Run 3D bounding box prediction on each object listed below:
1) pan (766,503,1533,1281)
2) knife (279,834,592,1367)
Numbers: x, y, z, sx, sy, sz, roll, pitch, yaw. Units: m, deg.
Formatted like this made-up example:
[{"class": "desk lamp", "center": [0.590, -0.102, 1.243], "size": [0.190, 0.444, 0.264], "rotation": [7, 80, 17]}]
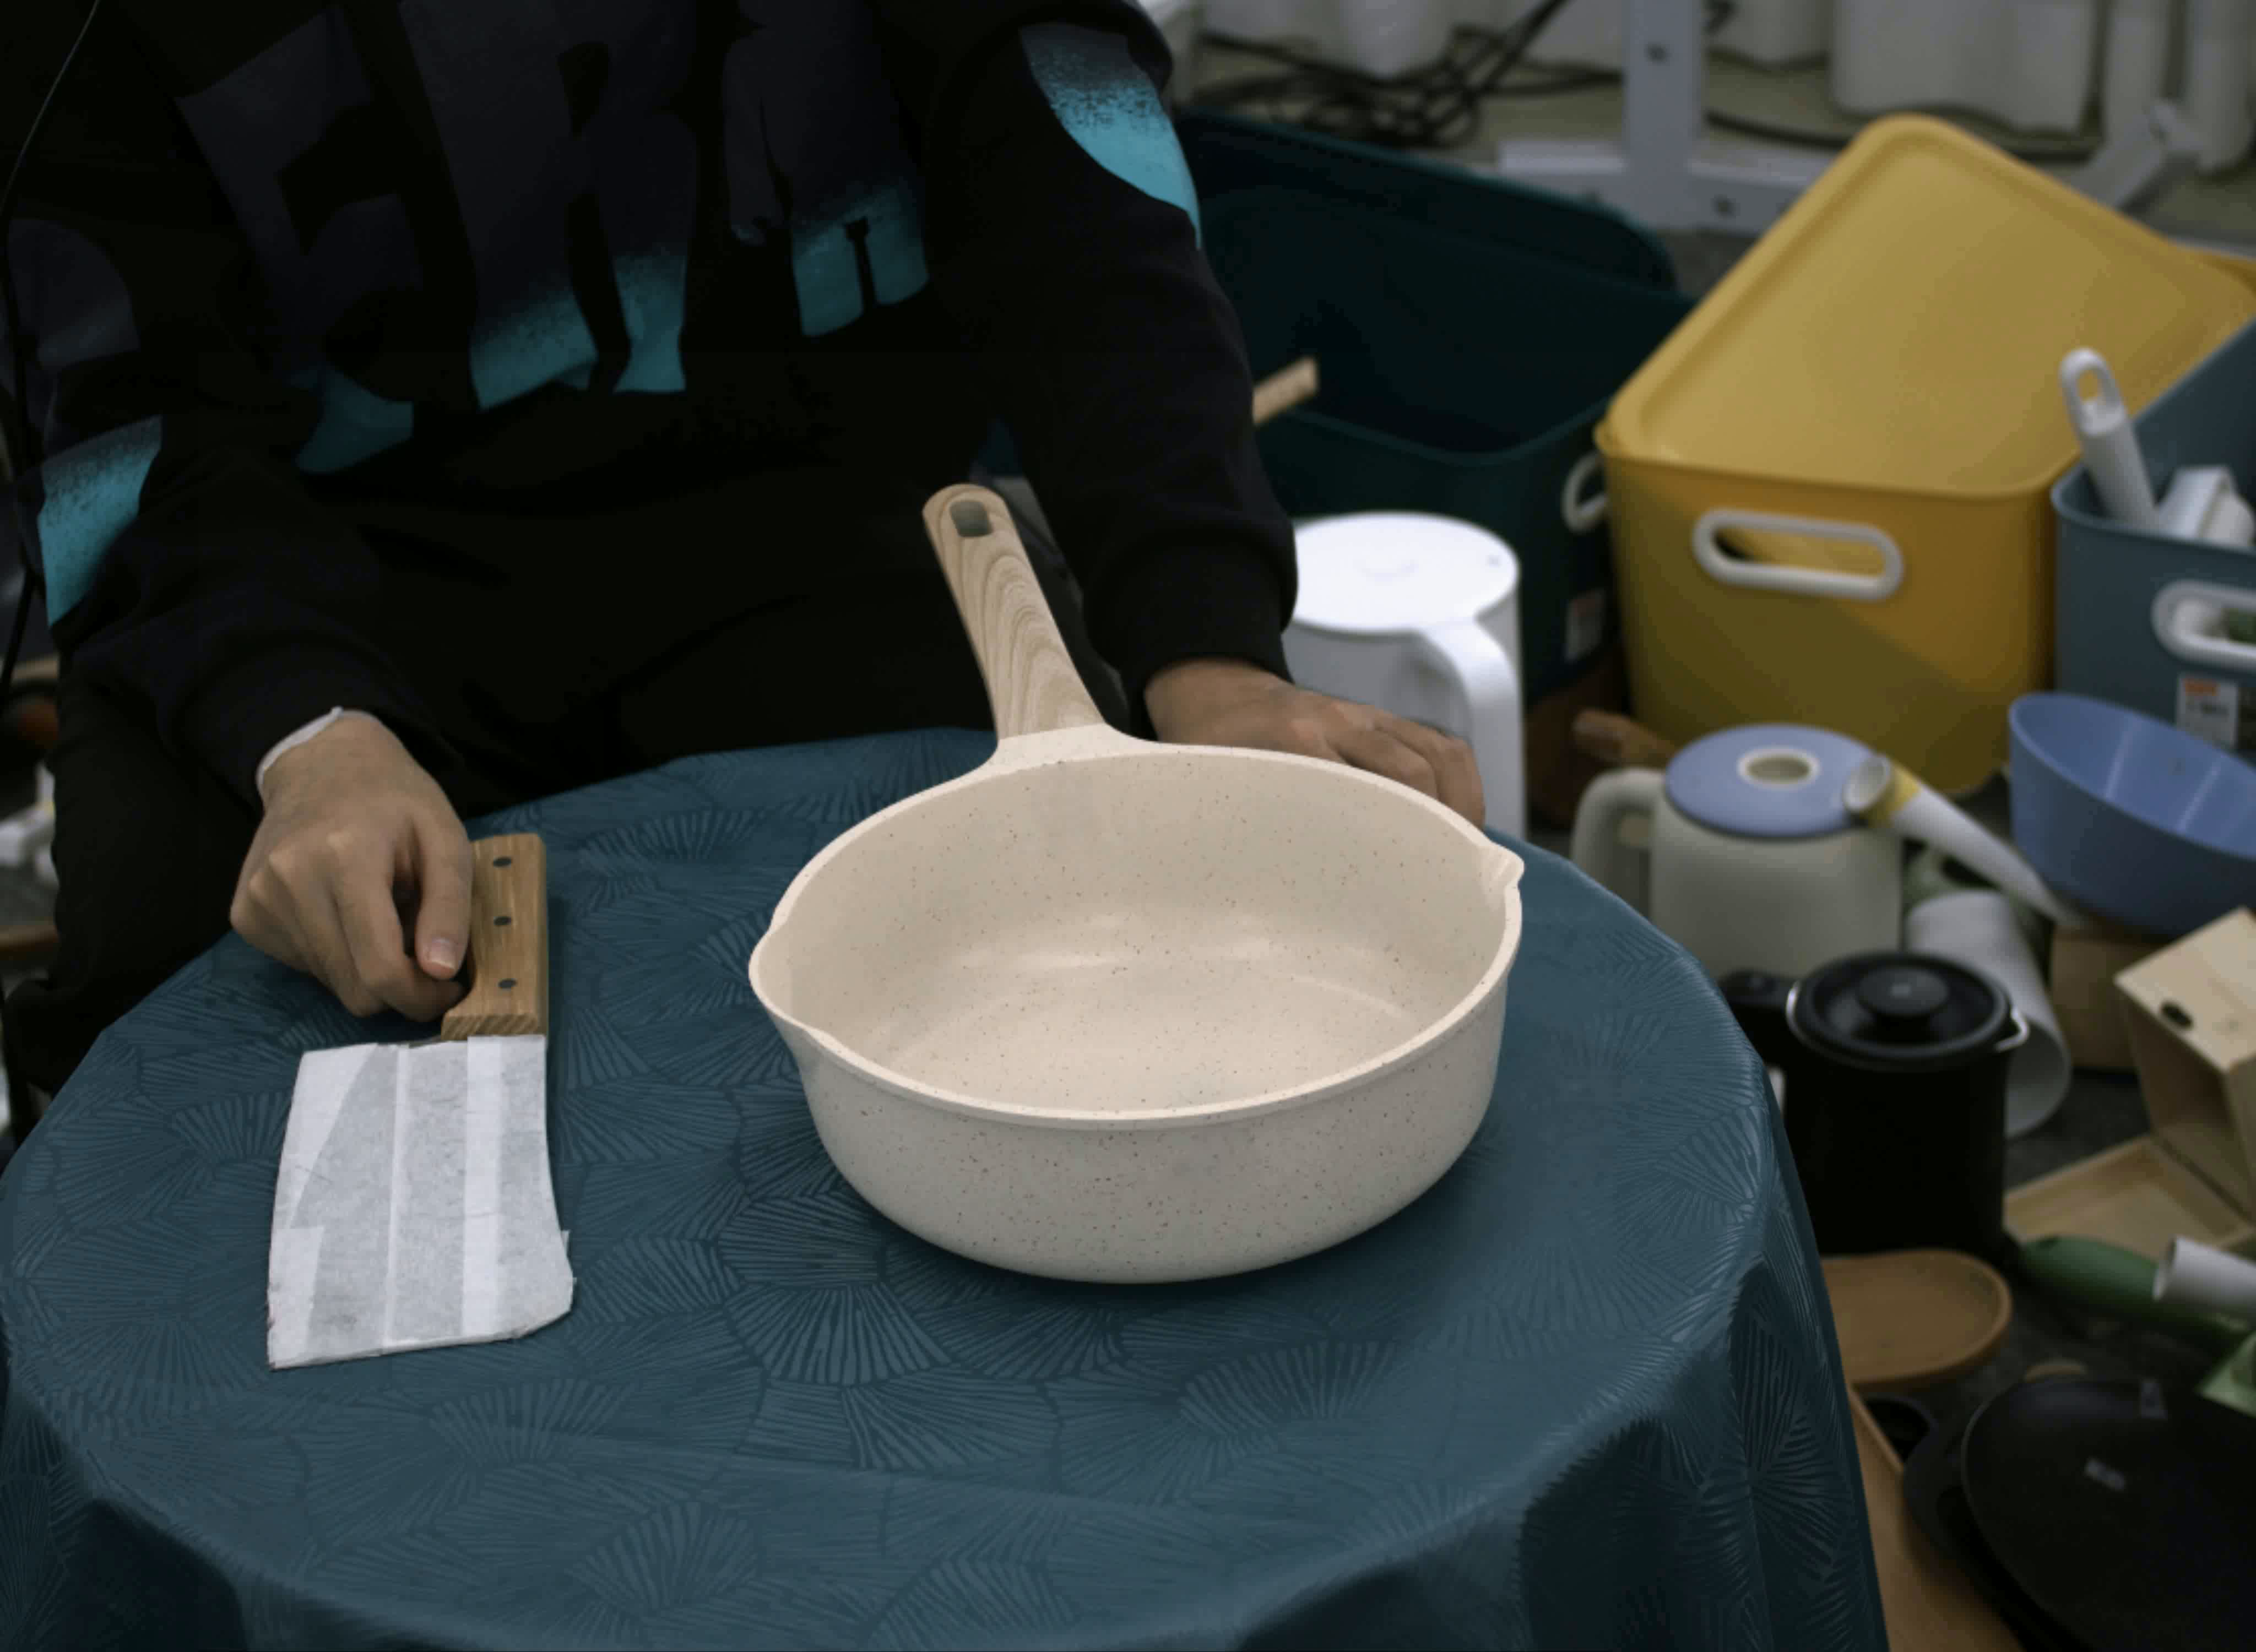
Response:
[{"class": "pan", "center": [-0.011, 0.018, 1.957], "size": [0.263, 0.101, 0.439], "rotation": [-11, 28, -10]}, {"class": "knife", "center": [-0.233, 0.091, 1.925], "size": [0.113, 0.021, 0.320], "rotation": [-3, 30, 1]}]
